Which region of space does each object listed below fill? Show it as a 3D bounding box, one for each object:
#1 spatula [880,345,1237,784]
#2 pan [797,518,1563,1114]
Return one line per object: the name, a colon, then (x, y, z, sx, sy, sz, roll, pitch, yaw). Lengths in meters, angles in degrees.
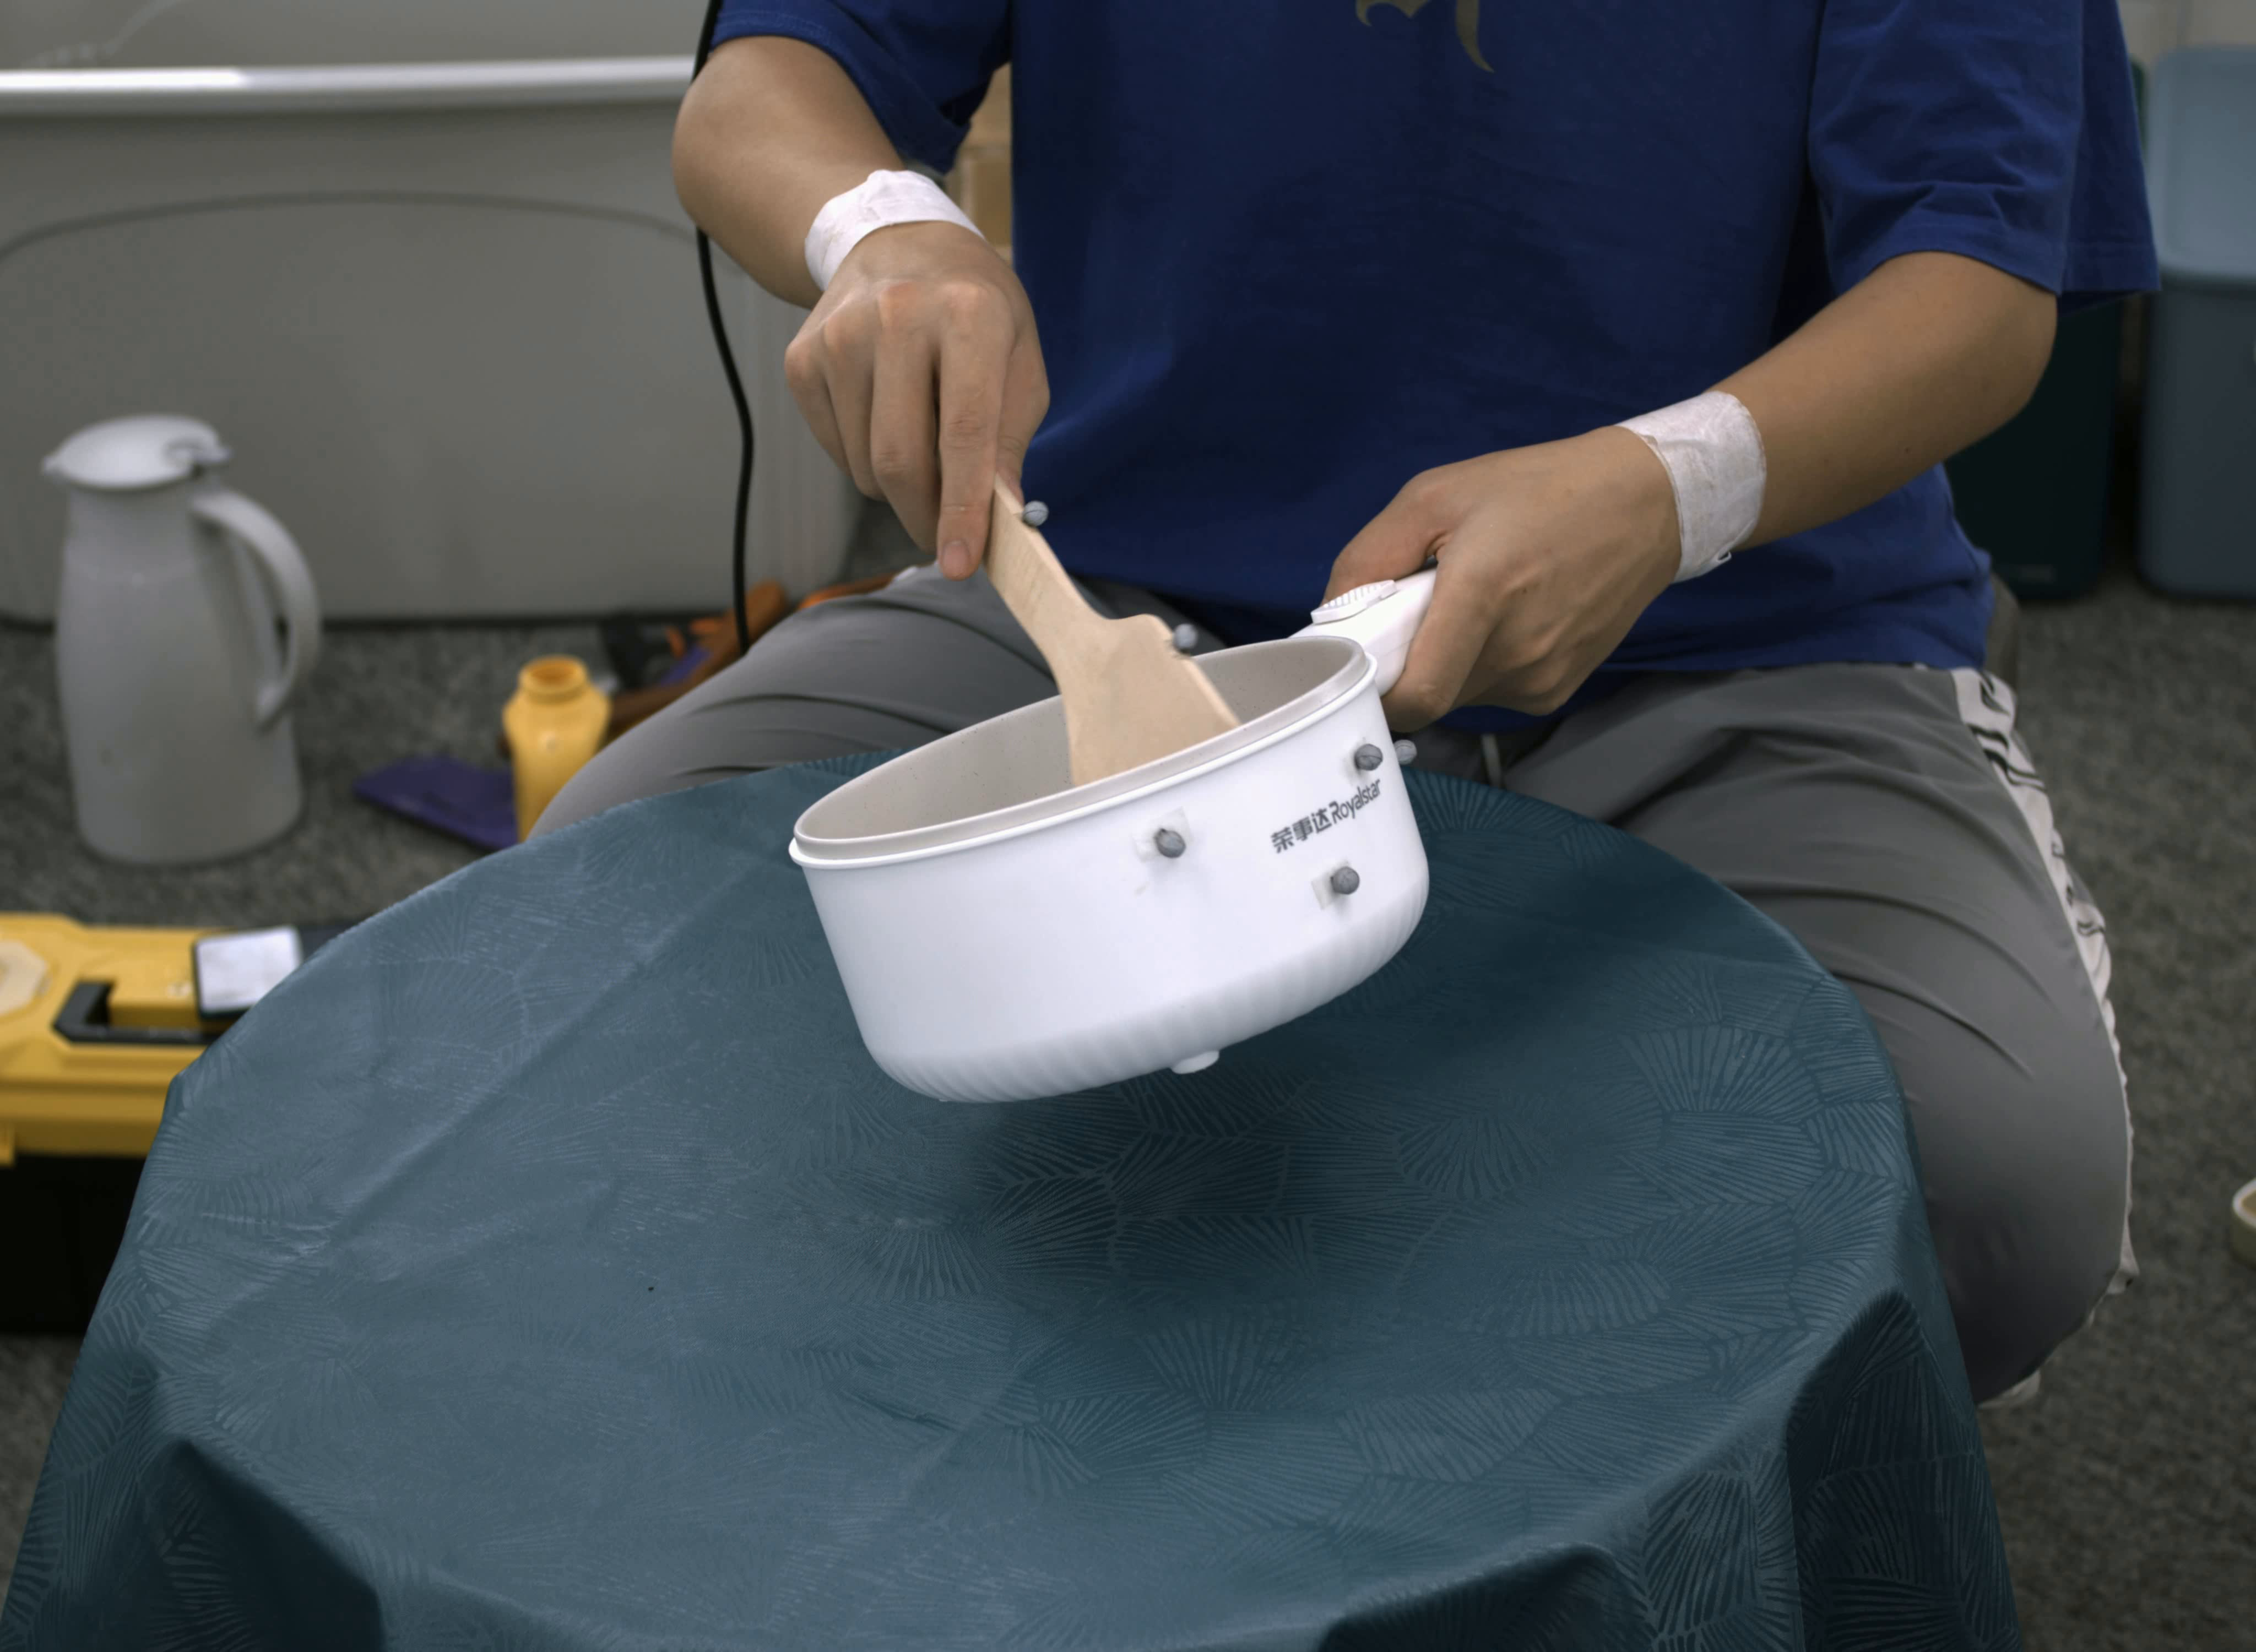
spatula: (-0.028, -0.081, 1.885, 0.010, 0.071, 0.296, 4, 32, -30)
pan: (0.045, -0.005, 1.893, 0.198, 0.102, 0.359, -13, 11, 40)
